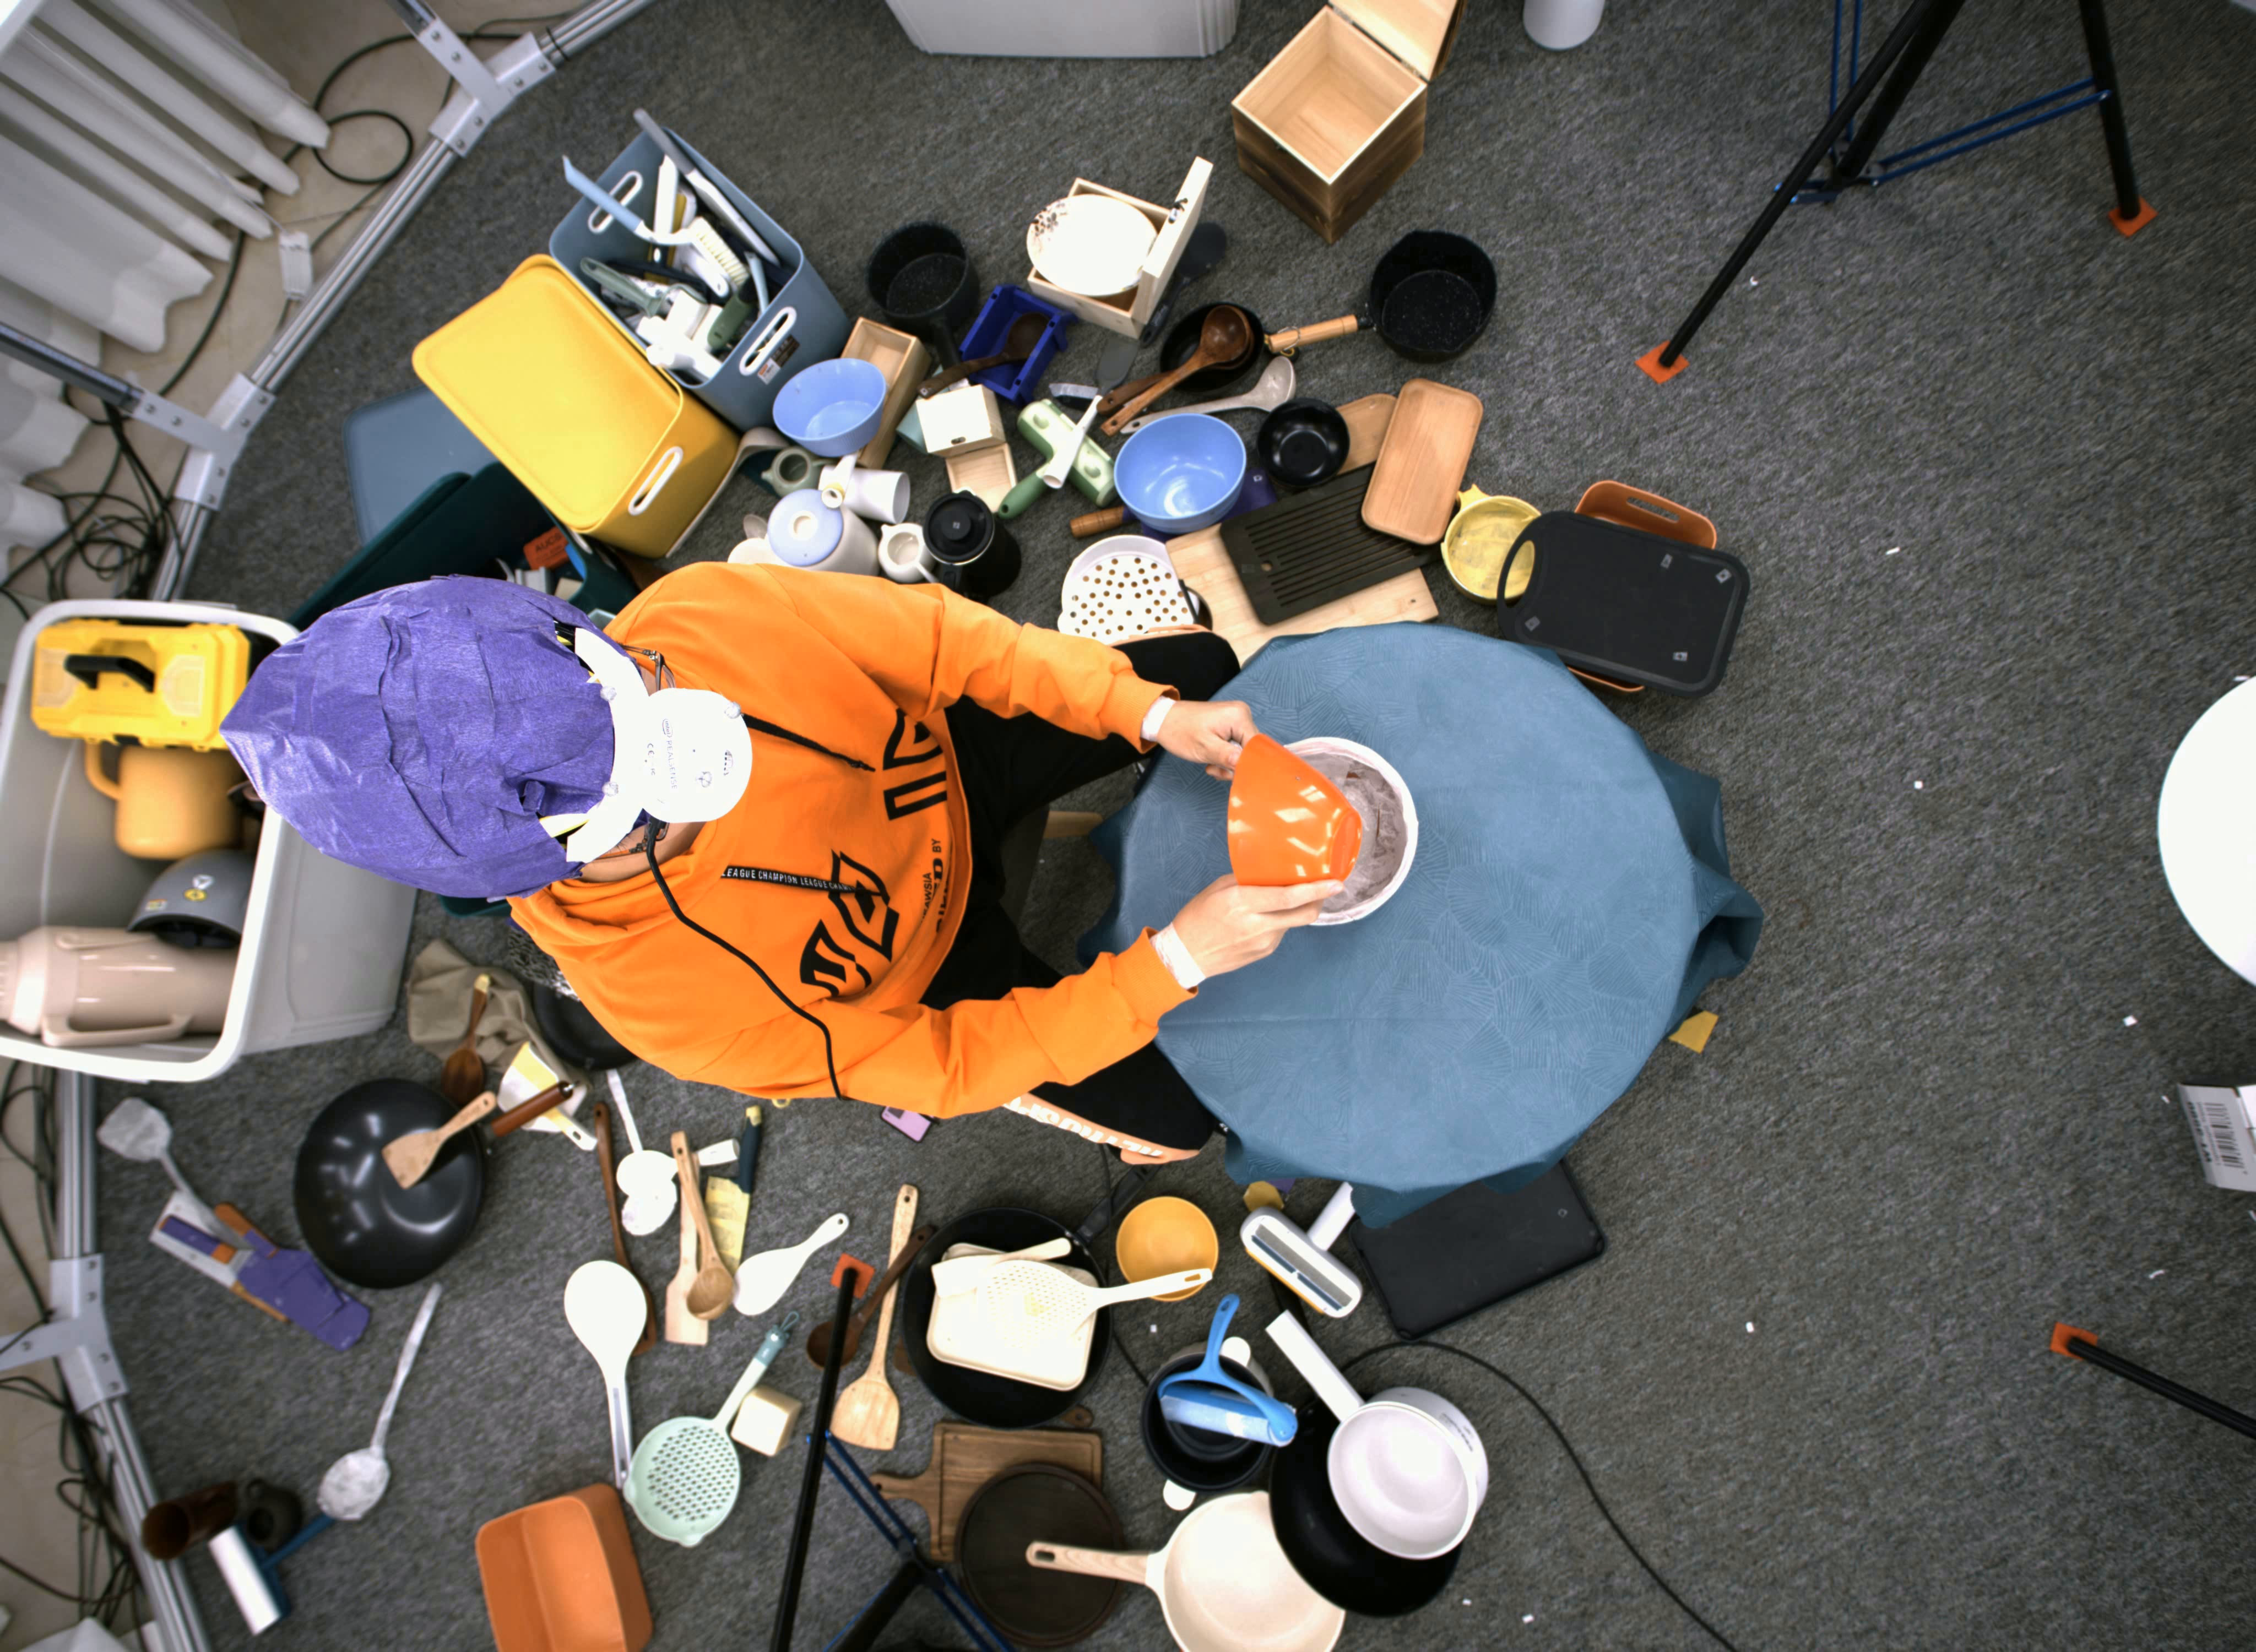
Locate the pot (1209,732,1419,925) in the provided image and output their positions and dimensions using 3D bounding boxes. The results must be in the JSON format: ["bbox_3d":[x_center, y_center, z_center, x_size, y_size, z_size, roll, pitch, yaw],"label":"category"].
[{"bbox_3d":[0.172,-0.012,1.360,0.233,0.136,0.180,38,97,9],"label":"pot"}]

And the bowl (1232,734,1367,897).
[{"bbox_3d":[0.157,-0.003,1.242,0.105,0.148,0.147,14,87,29],"label":"bowl"}]
